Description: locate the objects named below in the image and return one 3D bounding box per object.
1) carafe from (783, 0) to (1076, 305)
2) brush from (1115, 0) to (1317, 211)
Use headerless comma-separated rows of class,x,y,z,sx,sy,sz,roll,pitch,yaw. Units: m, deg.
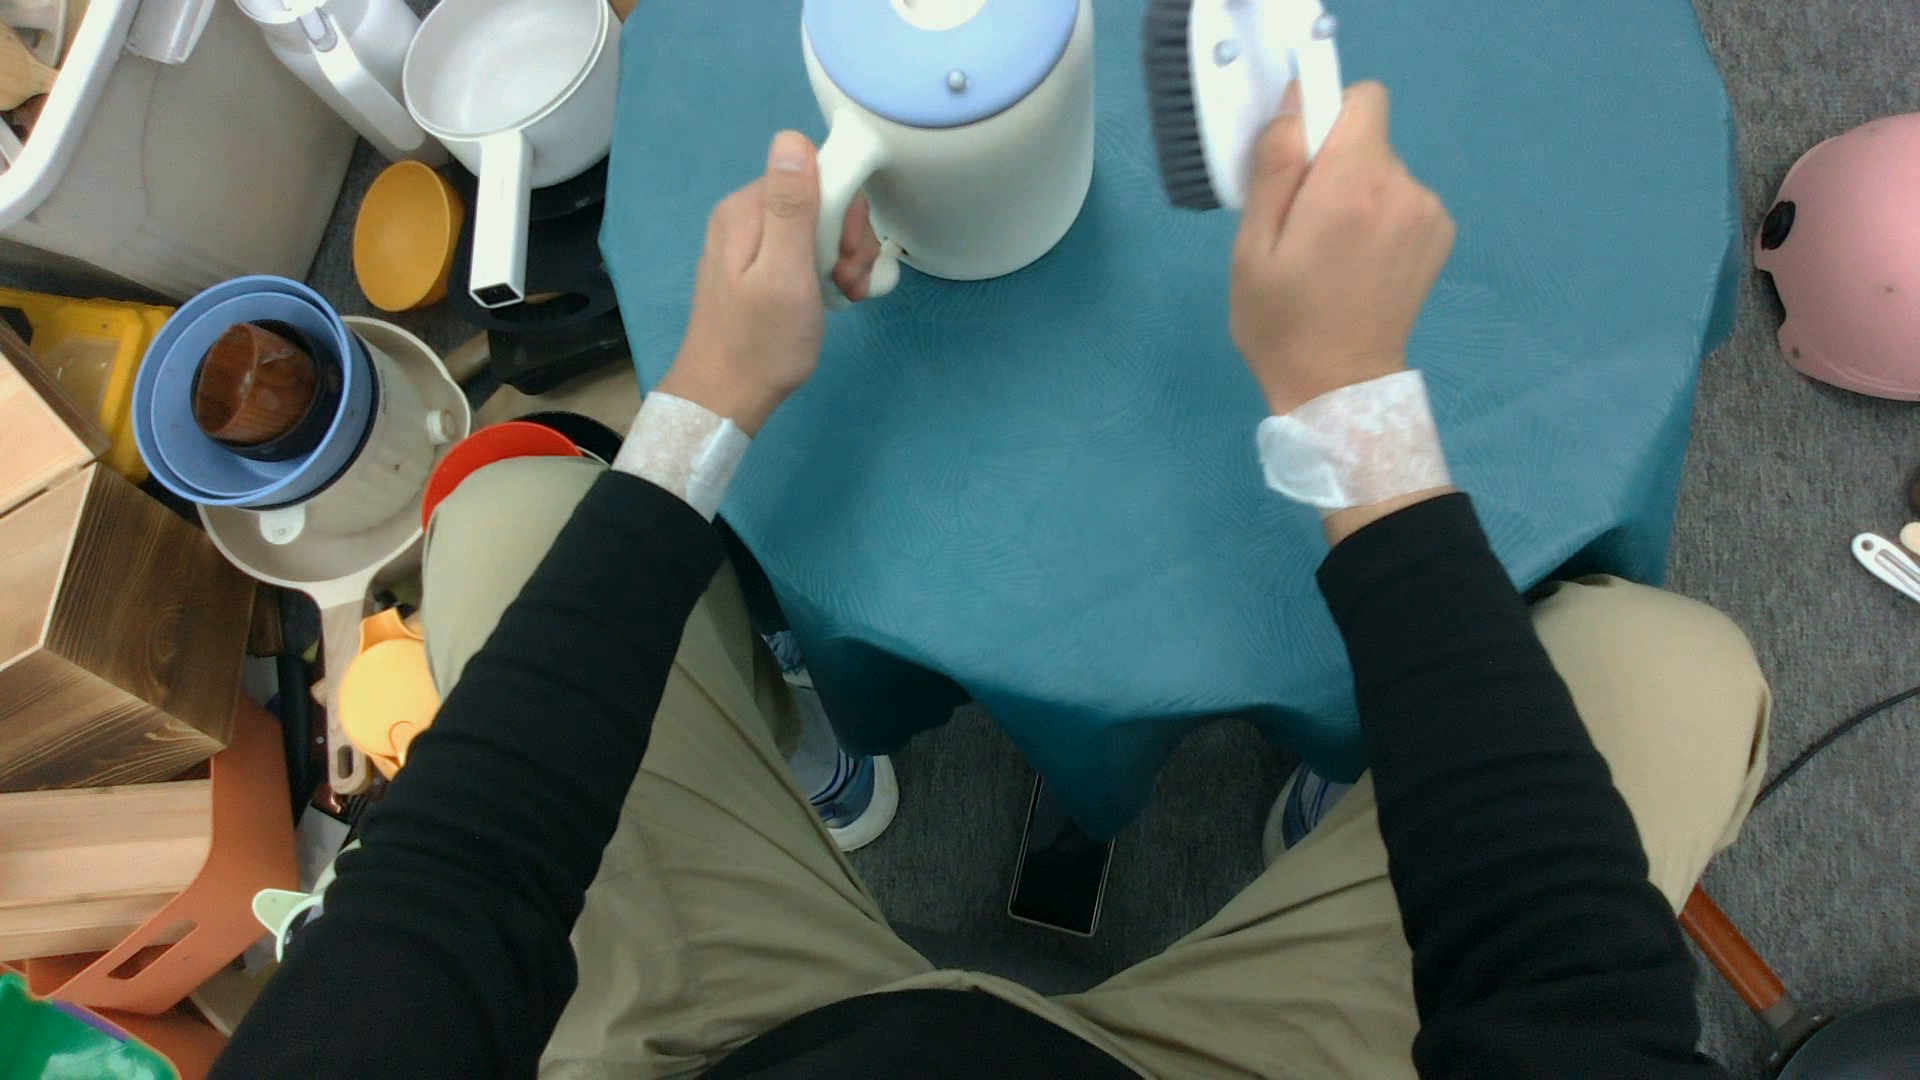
carafe,-0.024,-0.201,0.666,0.132,0.182,0.191,34,85,10
brush,0.110,-0.182,0.559,0.050,0.099,0.072,-35,34,-31
